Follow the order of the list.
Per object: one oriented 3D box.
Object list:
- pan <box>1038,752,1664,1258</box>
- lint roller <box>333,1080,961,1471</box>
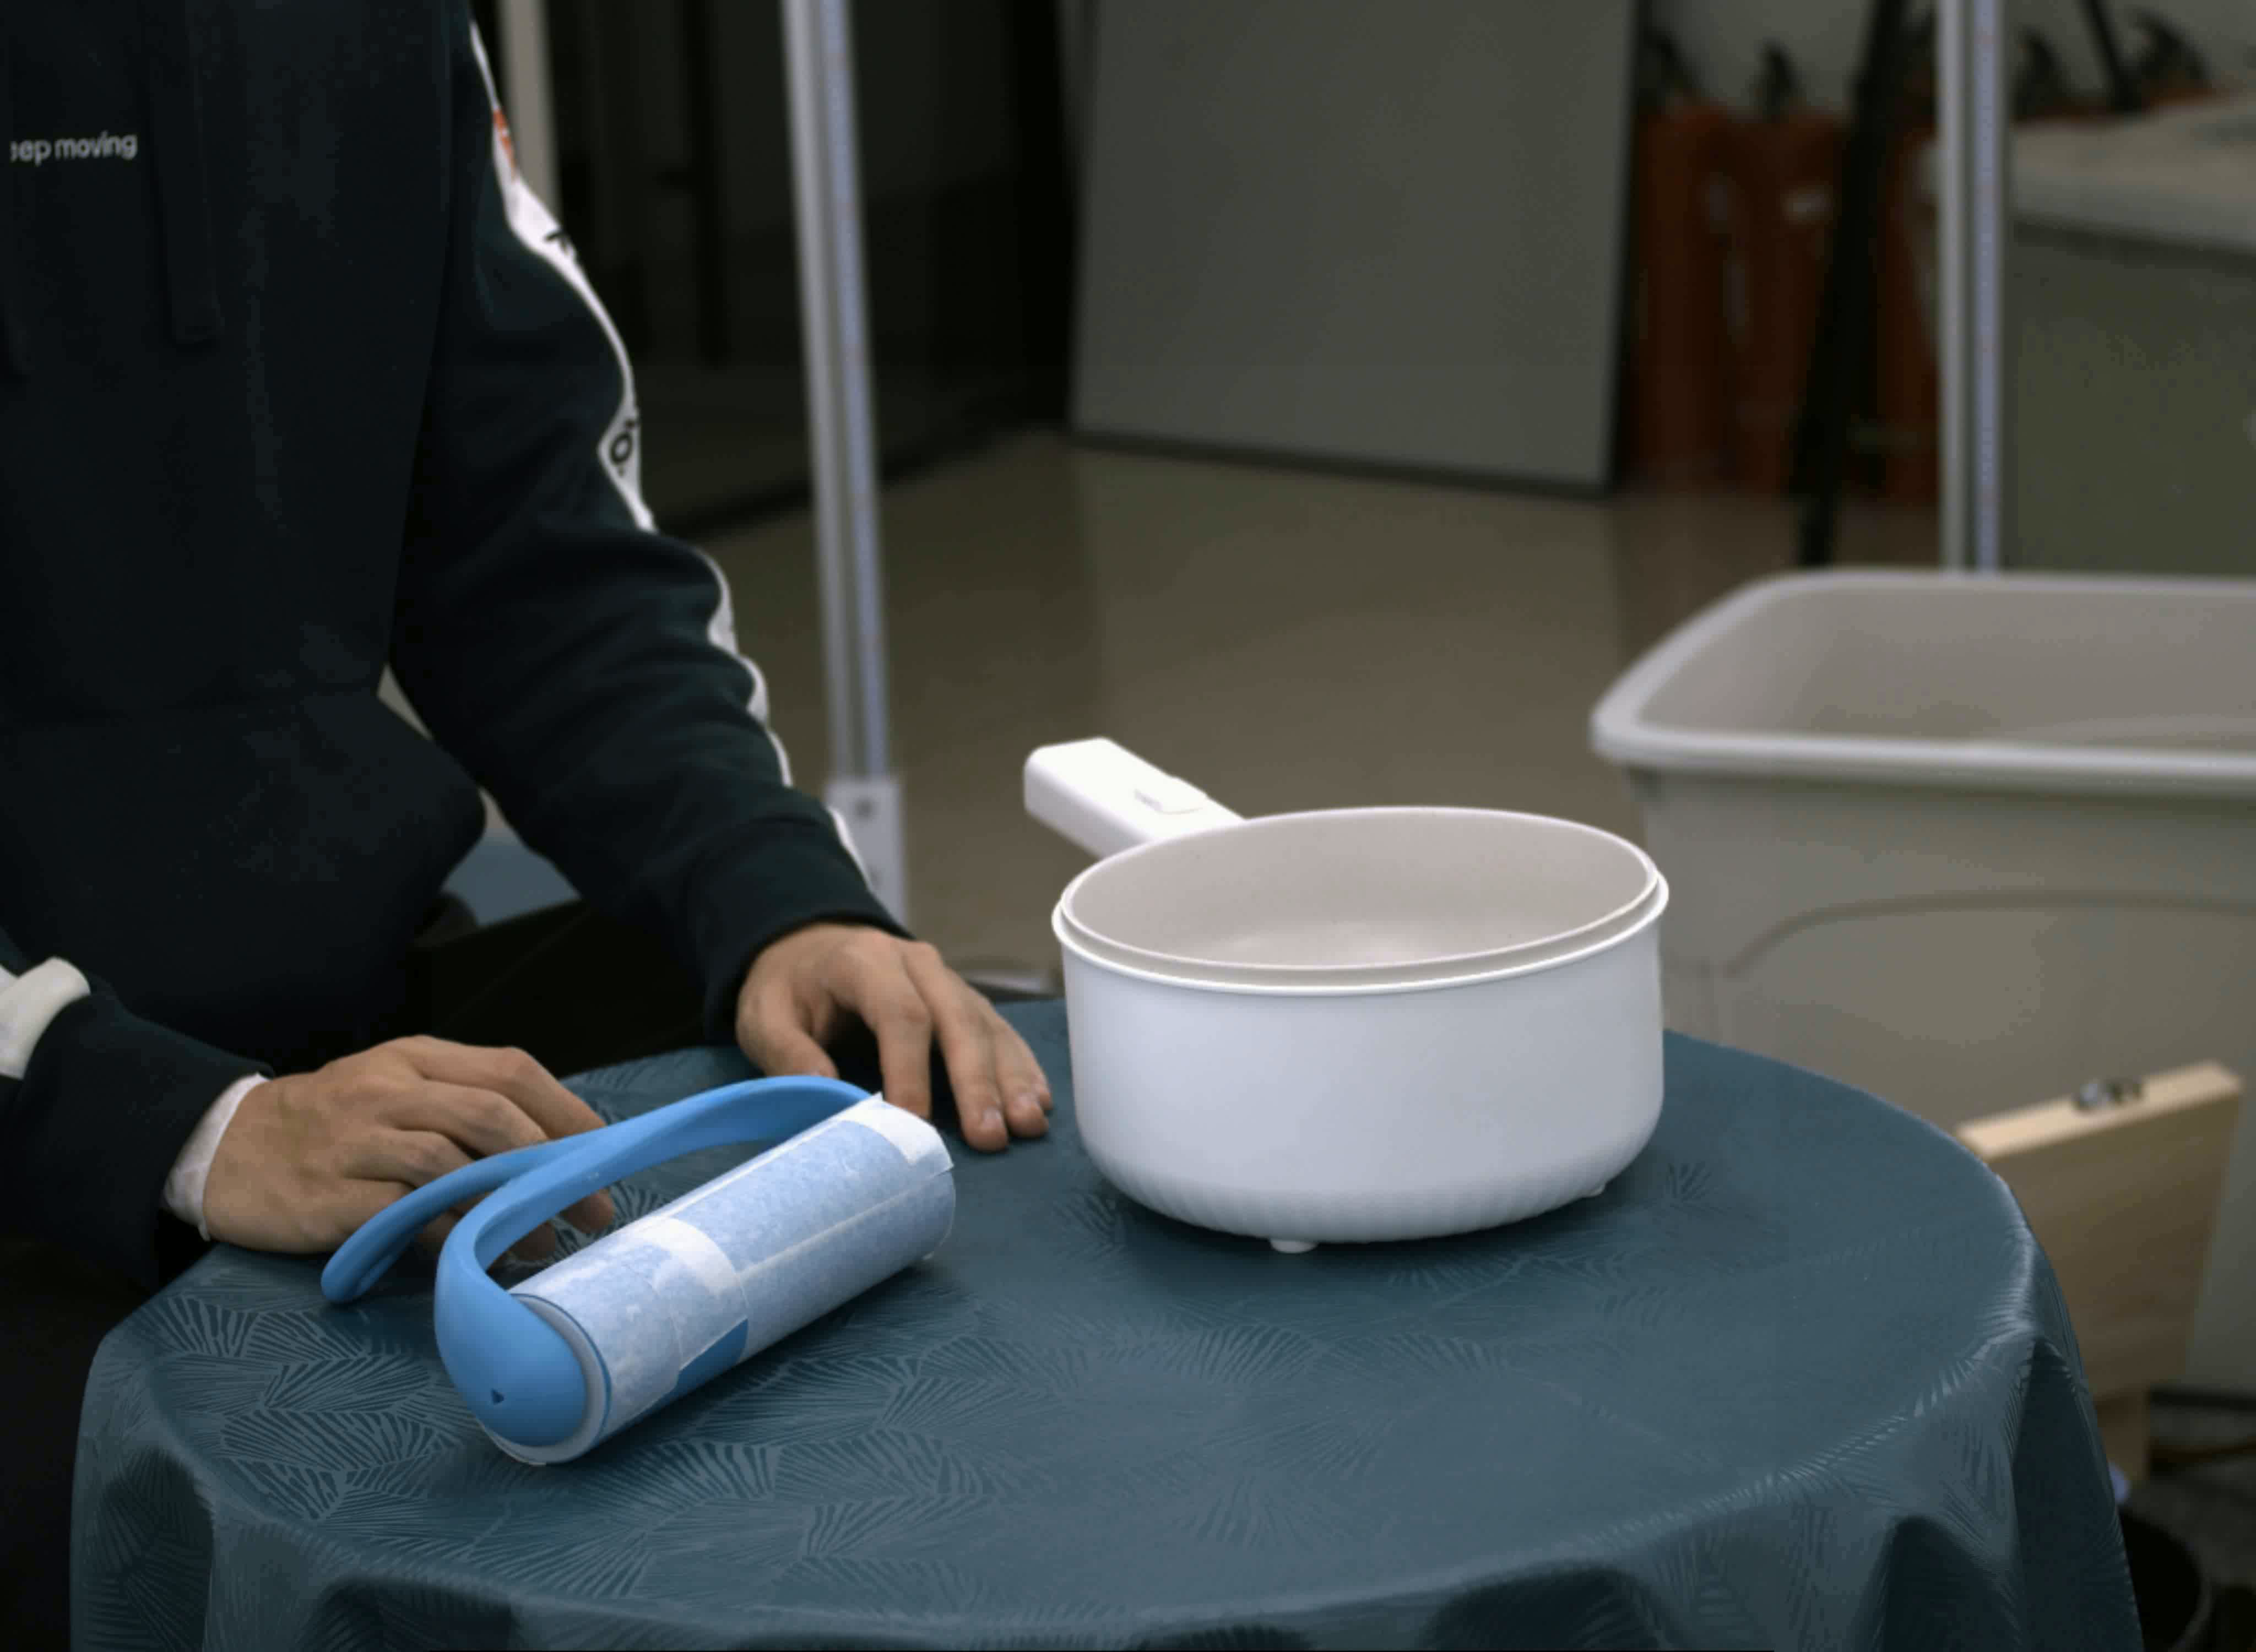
[{"bbox_3d":[0.049,0.054,1.826,0.197,0.103,0.358,-10,14,-20],"label":"pan"},{"bbox_3d":[-0.173,0.131,1.661,0.181,0.068,0.226,4,18,28],"label":"lint roller"}]
